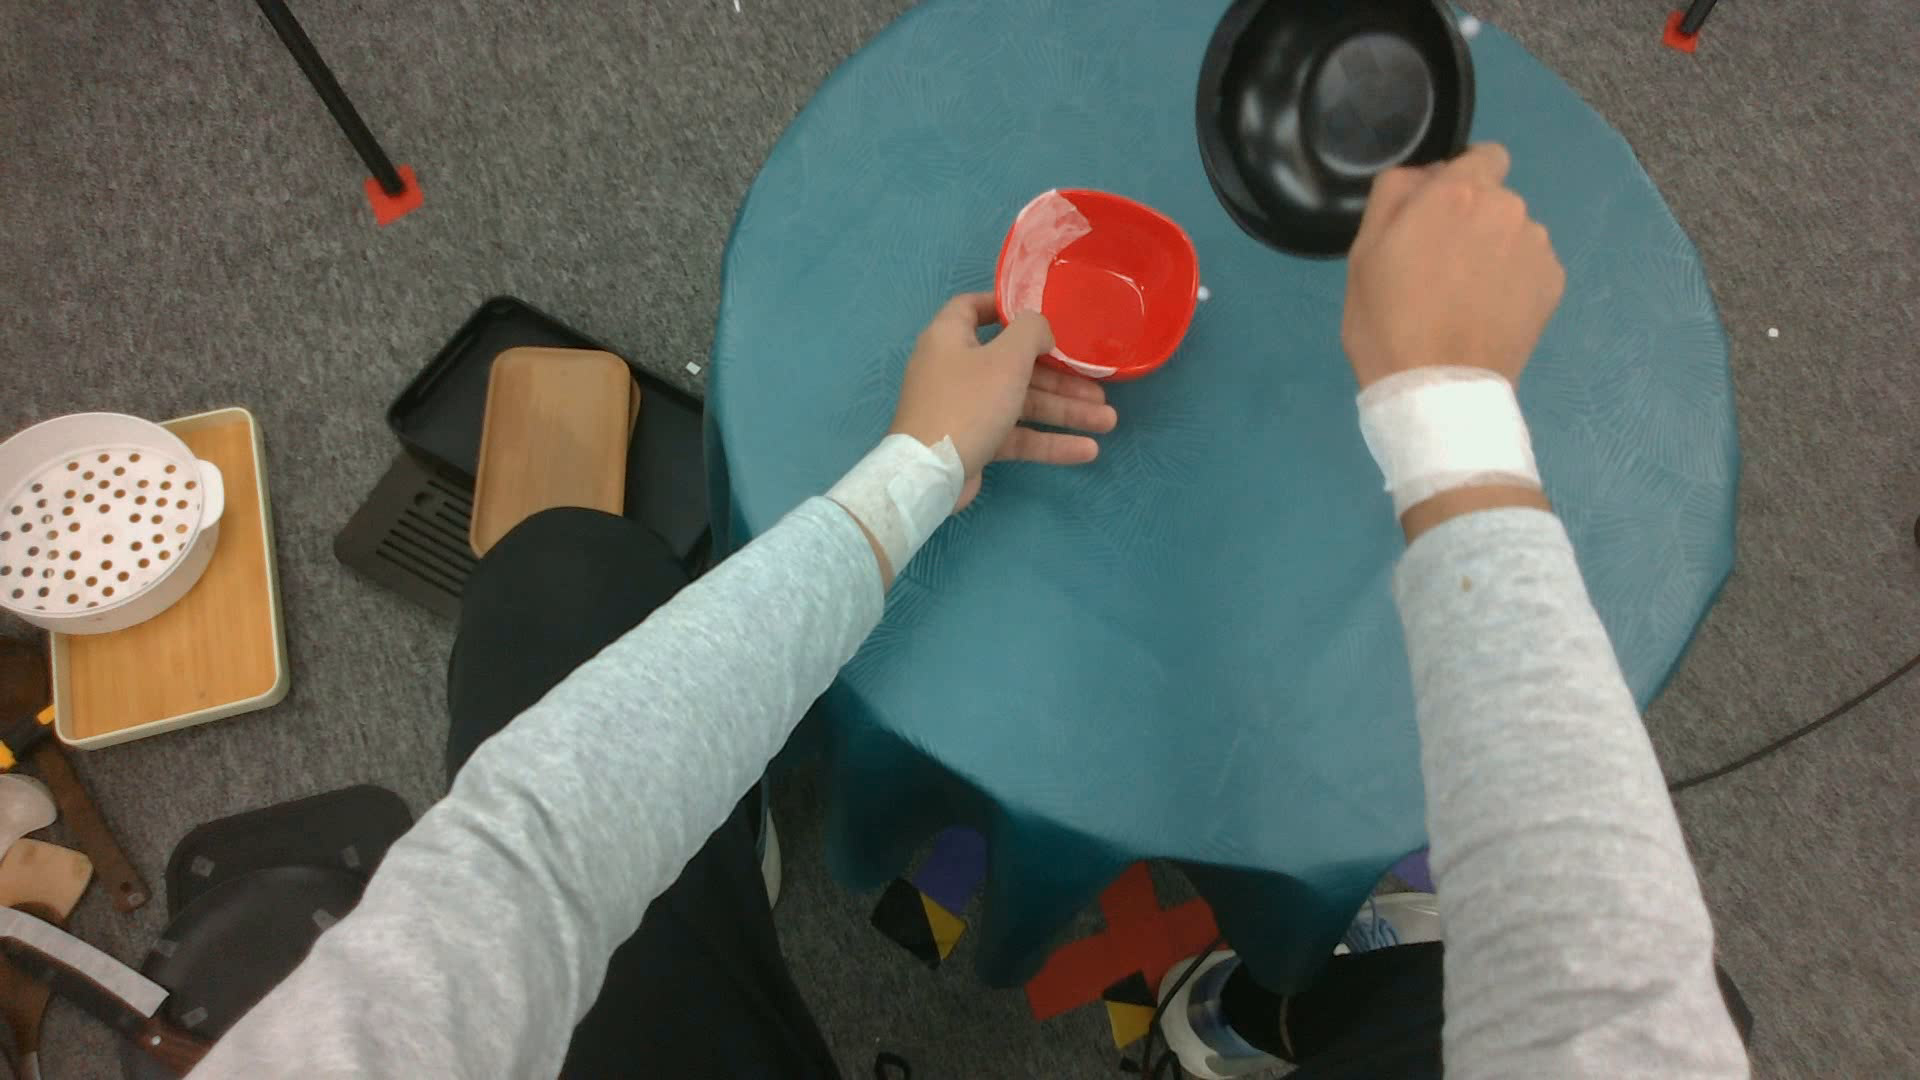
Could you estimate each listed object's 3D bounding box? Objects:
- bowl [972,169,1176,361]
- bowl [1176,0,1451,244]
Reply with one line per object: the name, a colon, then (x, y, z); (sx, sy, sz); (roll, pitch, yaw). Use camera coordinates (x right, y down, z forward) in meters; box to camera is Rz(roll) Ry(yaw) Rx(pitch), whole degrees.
bowl: (0.060, -0.145, 0.770); (0.119, 0.051, 0.119); (3, 69, -7)
bowl: (0.172, -0.214, 0.649); (0.050, 0.139, 0.140); (-28, 73, -38)
